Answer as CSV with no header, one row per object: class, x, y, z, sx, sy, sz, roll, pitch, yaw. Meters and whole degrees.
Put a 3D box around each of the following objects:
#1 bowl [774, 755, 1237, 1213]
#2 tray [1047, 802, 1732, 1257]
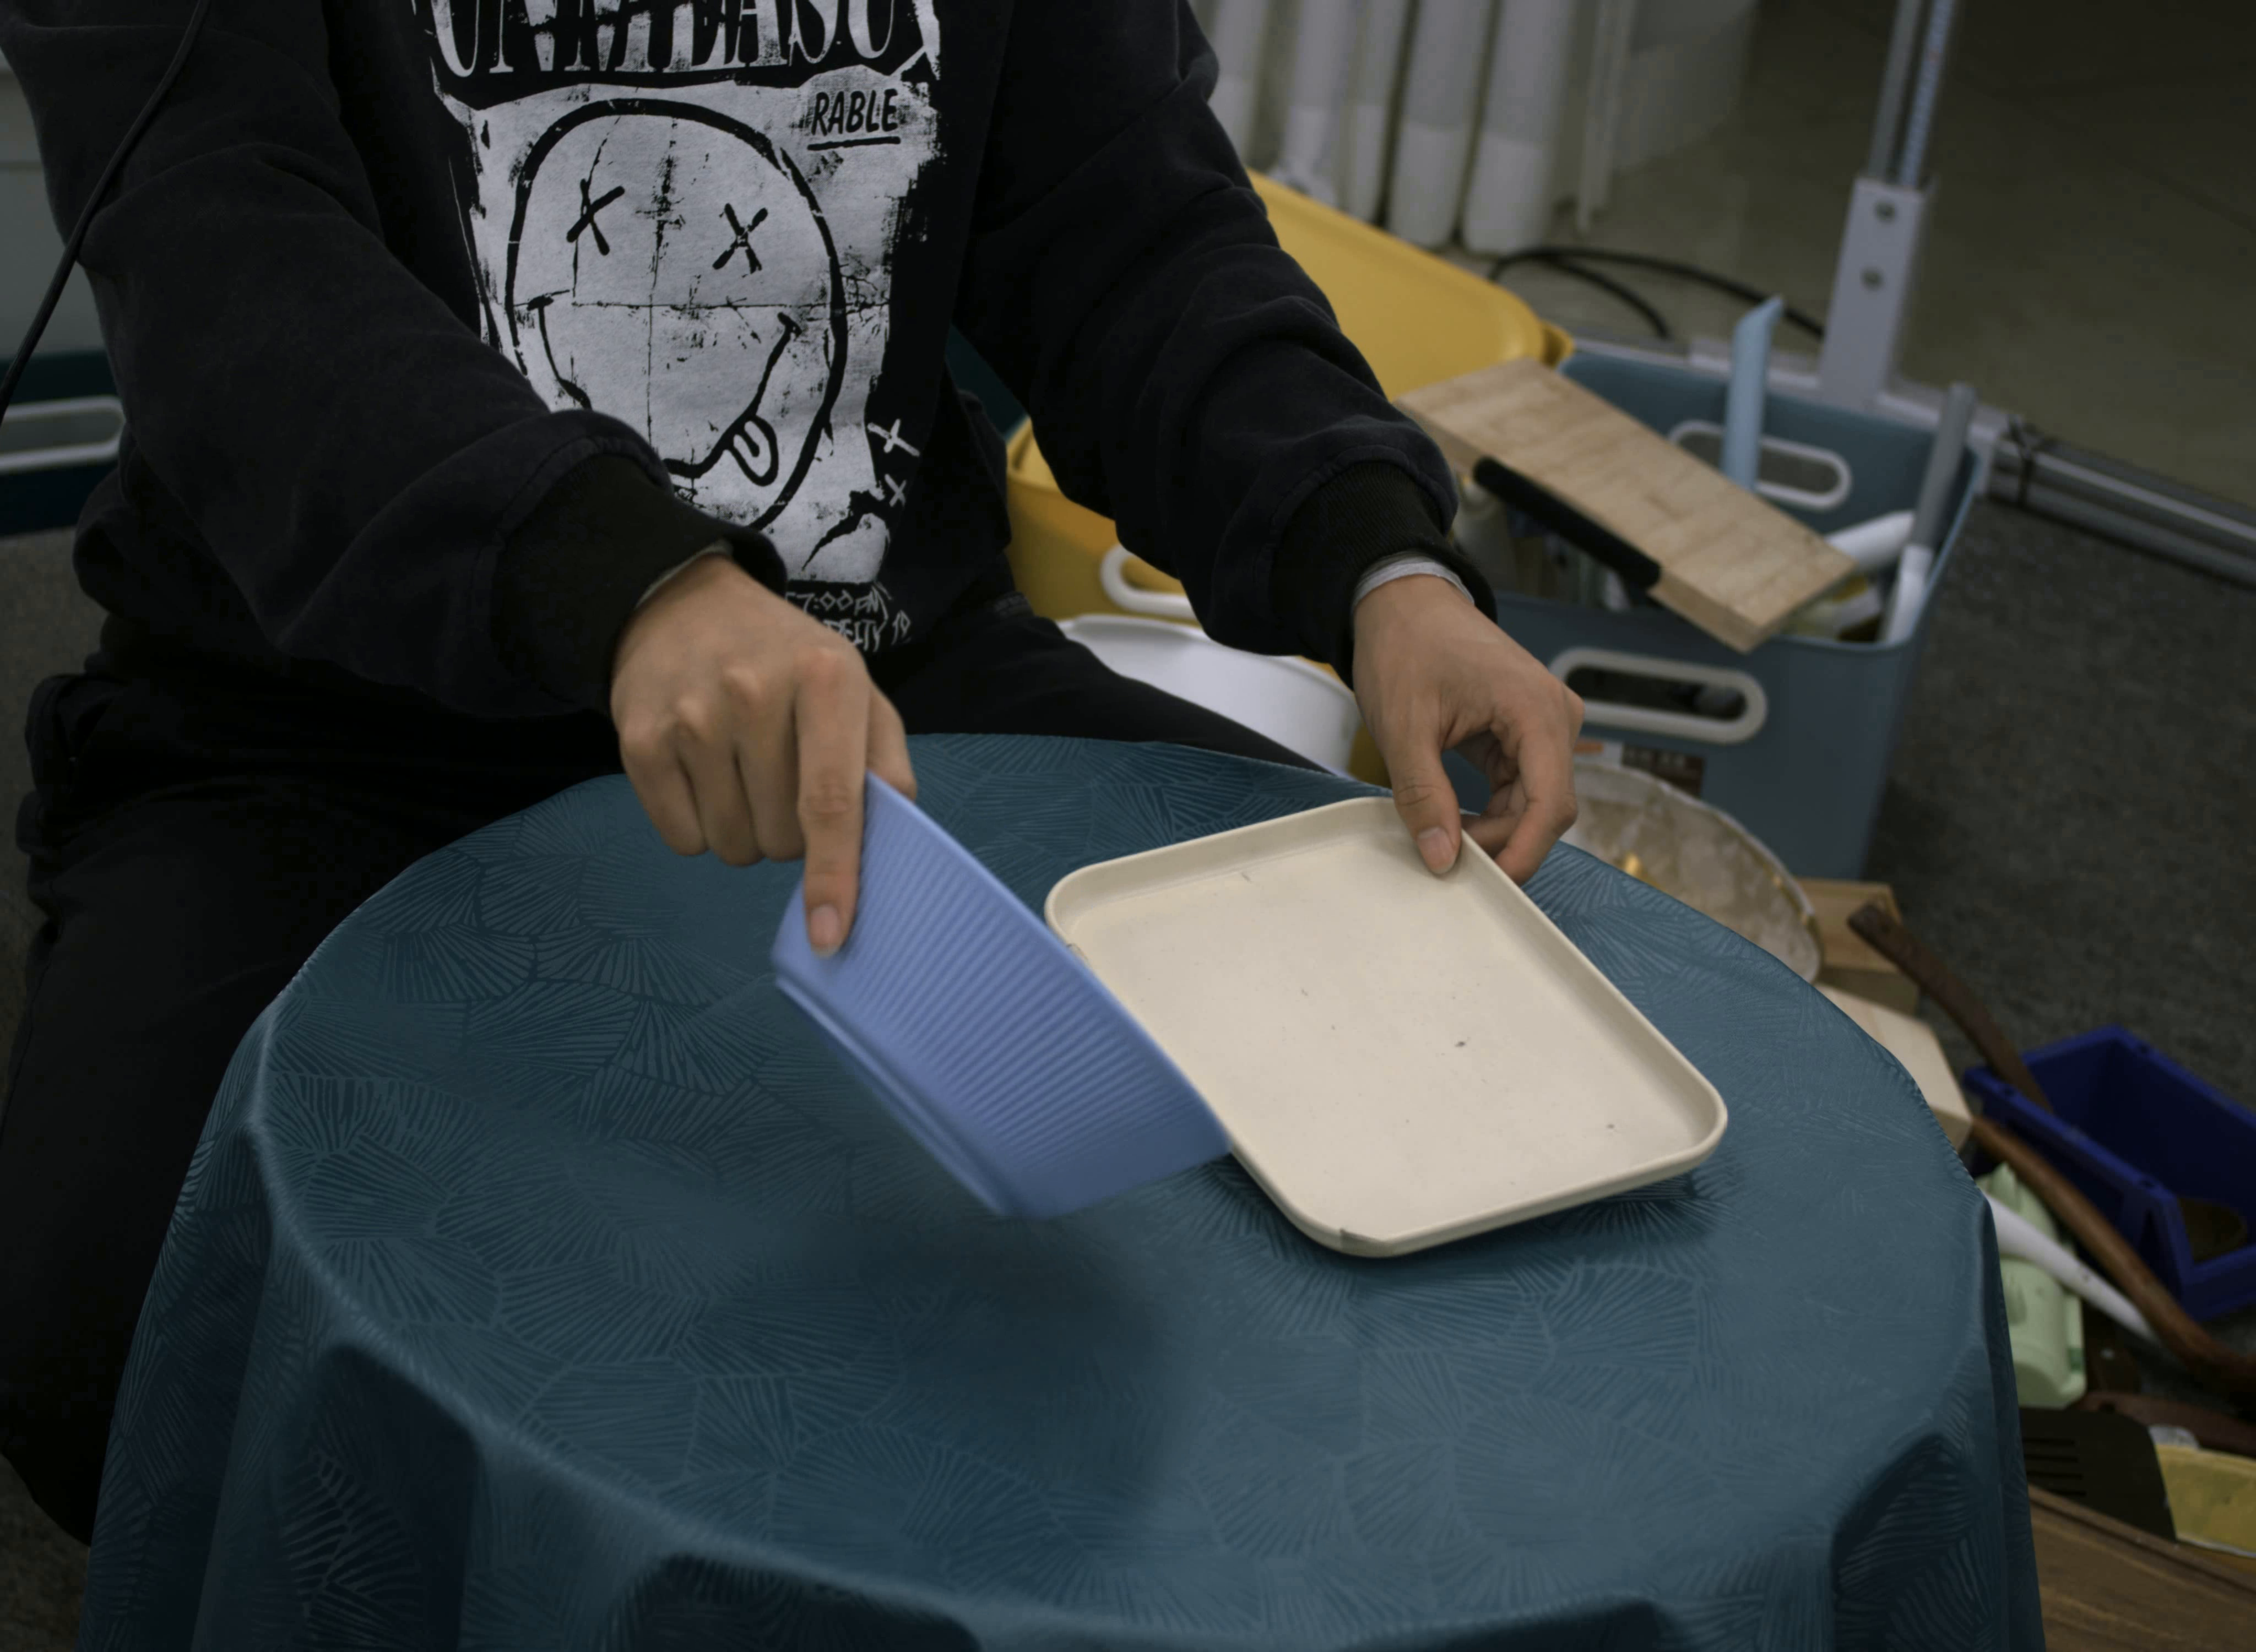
bowl,-0.050,0.061,1.696,0.070,0.174,0.177,-45,44,-6
tray,0.089,0.070,1.878,0.170,0.017,0.242,-13,36,-24
